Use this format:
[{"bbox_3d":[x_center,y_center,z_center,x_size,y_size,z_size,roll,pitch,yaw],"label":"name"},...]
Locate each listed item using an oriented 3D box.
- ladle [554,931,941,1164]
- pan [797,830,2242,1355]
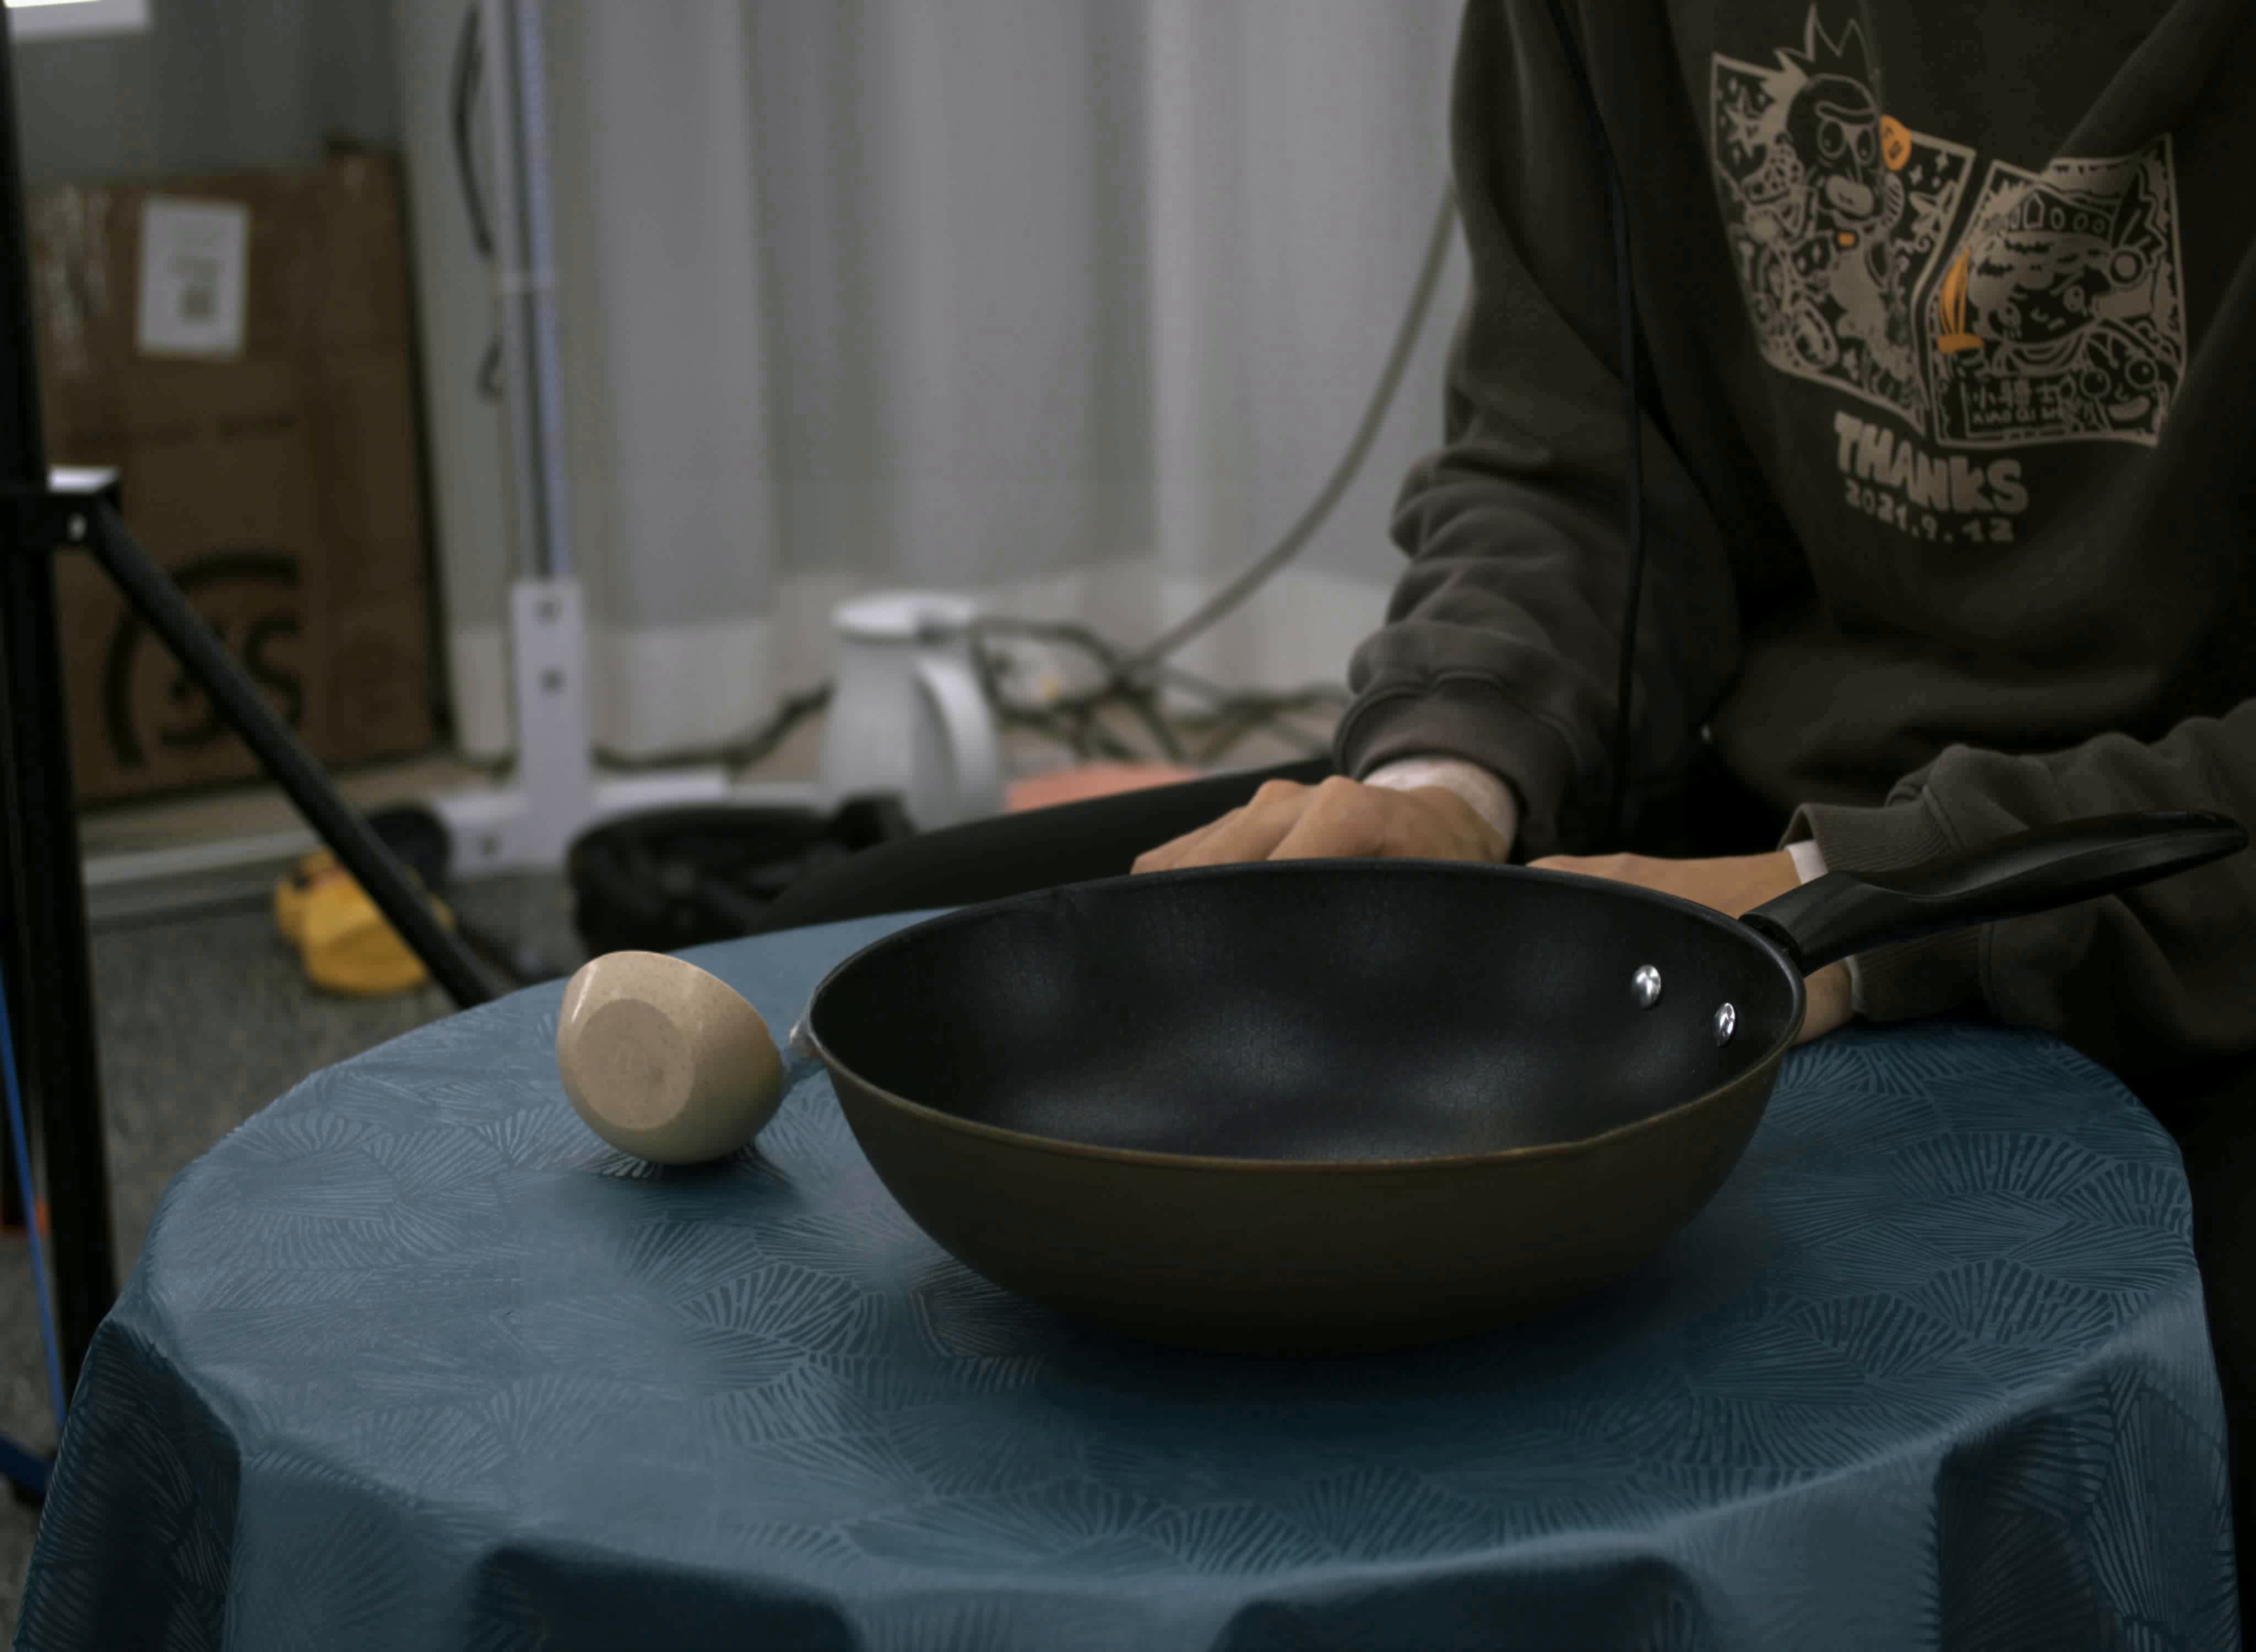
[{"bbox_3d":[-0.108,0.040,1.689,0.073,0.073,0.252,-3,15,19],"label":"ladle"},{"bbox_3d":[0.128,0.070,1.524,0.453,0.087,0.294,-9,17,-25],"label":"pan"}]
